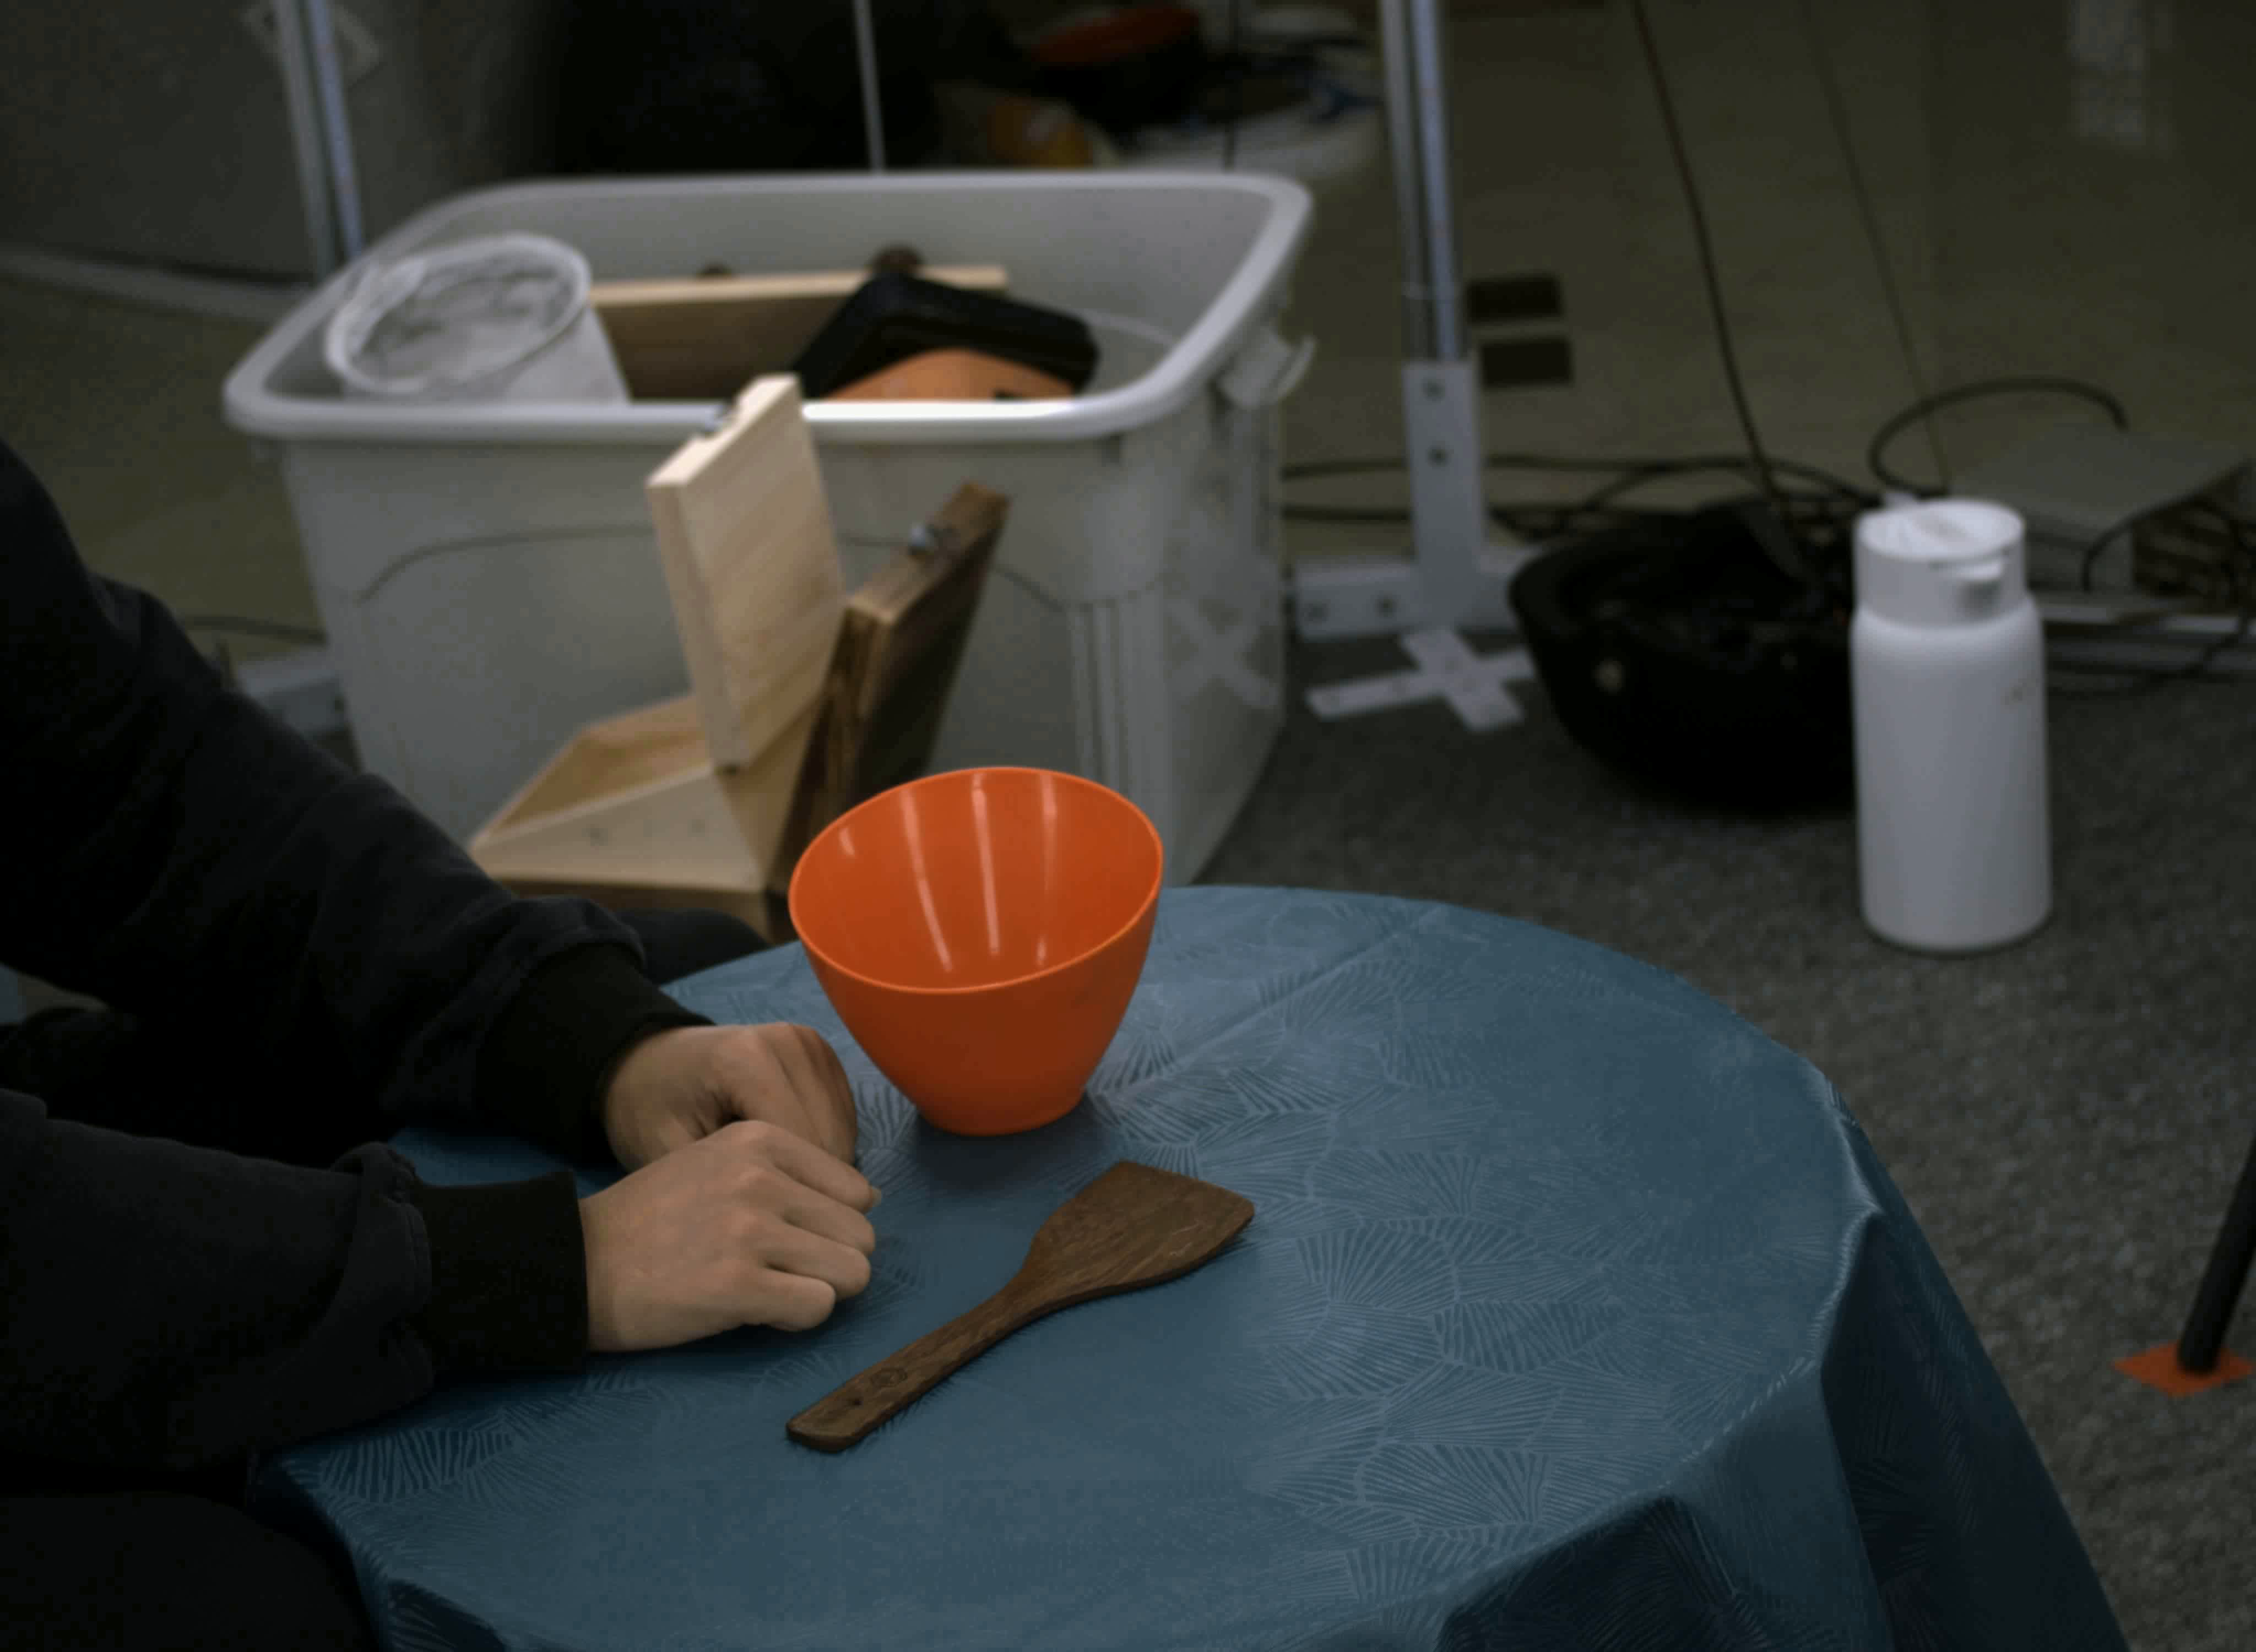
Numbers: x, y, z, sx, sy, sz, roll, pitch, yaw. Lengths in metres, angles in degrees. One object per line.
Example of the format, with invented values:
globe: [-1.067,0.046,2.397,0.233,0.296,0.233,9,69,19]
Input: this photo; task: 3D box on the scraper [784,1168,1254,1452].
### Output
scraper: [-0.045,0.178,2.071,0.075,0.011,0.209,15,33,41]

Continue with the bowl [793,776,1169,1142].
bowl: [-0.054,0.058,2.219,0.148,0.106,0.146,-5,25,2]
